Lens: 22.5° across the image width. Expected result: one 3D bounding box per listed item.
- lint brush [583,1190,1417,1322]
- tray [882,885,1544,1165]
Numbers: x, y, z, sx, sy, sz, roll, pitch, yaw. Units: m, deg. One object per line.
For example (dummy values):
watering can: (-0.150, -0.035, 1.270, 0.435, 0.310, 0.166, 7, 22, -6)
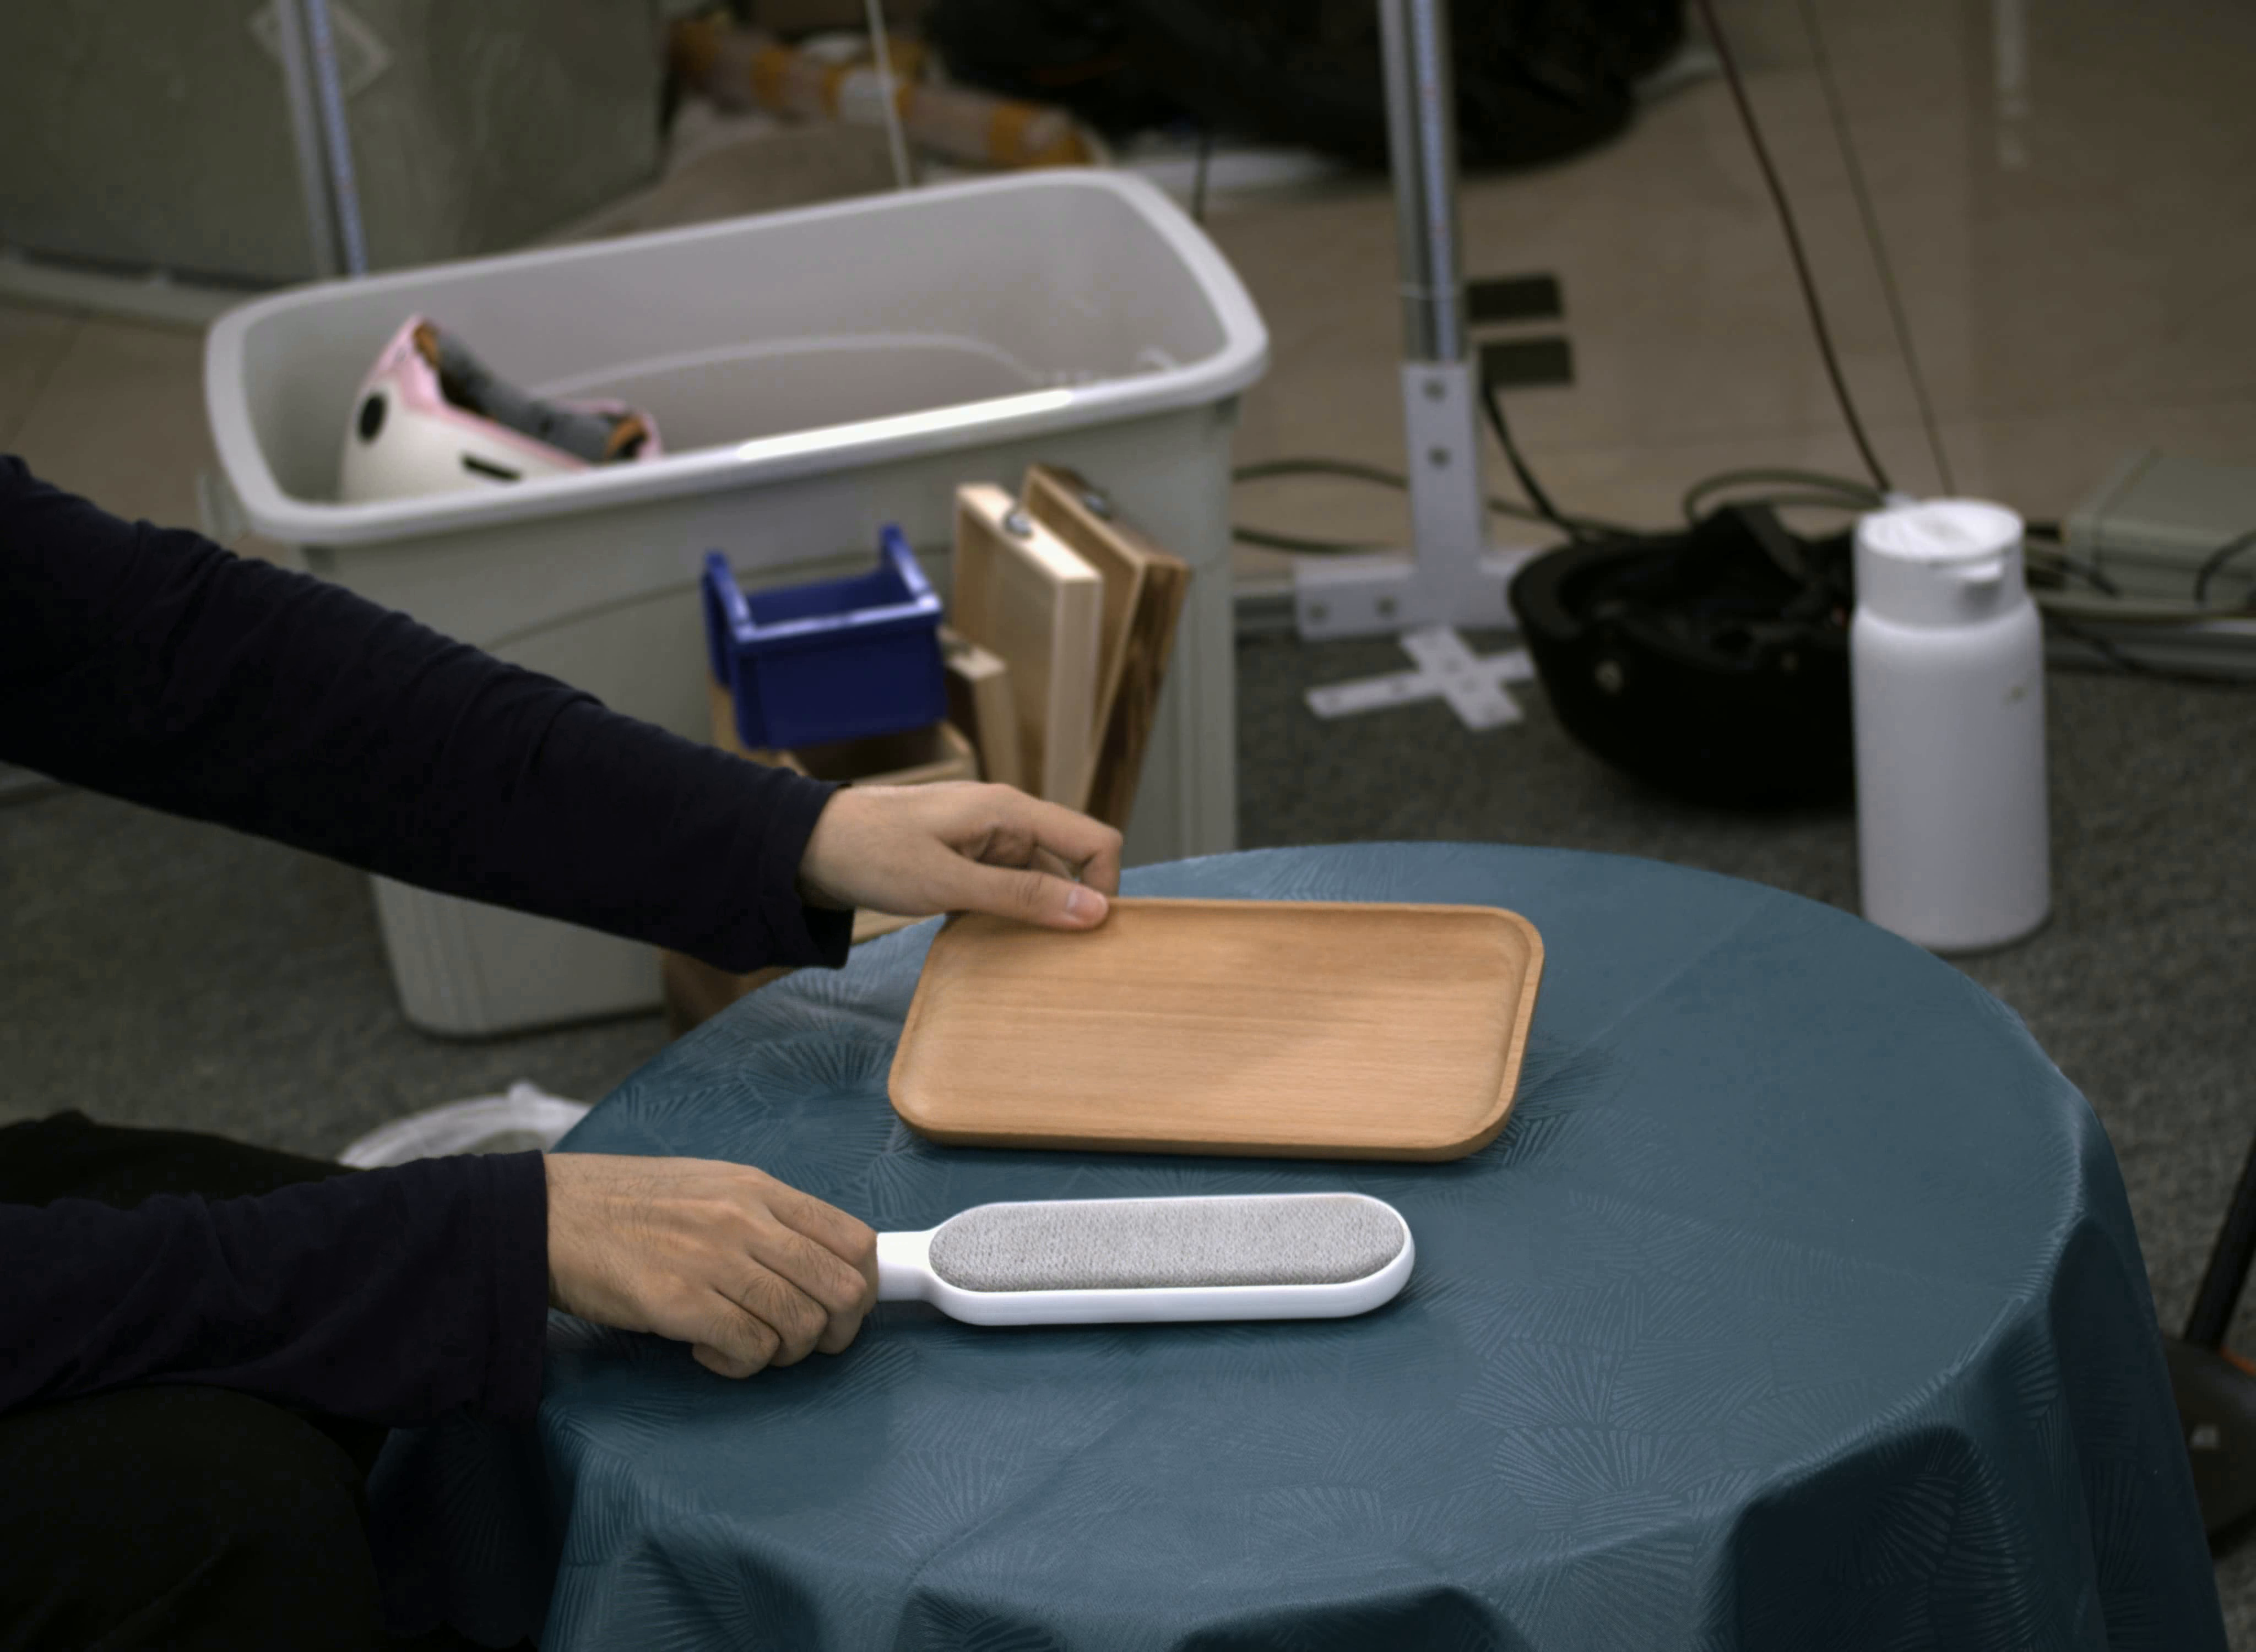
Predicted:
lint brush: (-0.048, 0.158, 2.077, 0.308, 0.021, 0.059, -1, 39, 8)
tray: (0.033, 0.078, 2.208, 0.250, 0.023, 0.128, 3, 44, 17)
